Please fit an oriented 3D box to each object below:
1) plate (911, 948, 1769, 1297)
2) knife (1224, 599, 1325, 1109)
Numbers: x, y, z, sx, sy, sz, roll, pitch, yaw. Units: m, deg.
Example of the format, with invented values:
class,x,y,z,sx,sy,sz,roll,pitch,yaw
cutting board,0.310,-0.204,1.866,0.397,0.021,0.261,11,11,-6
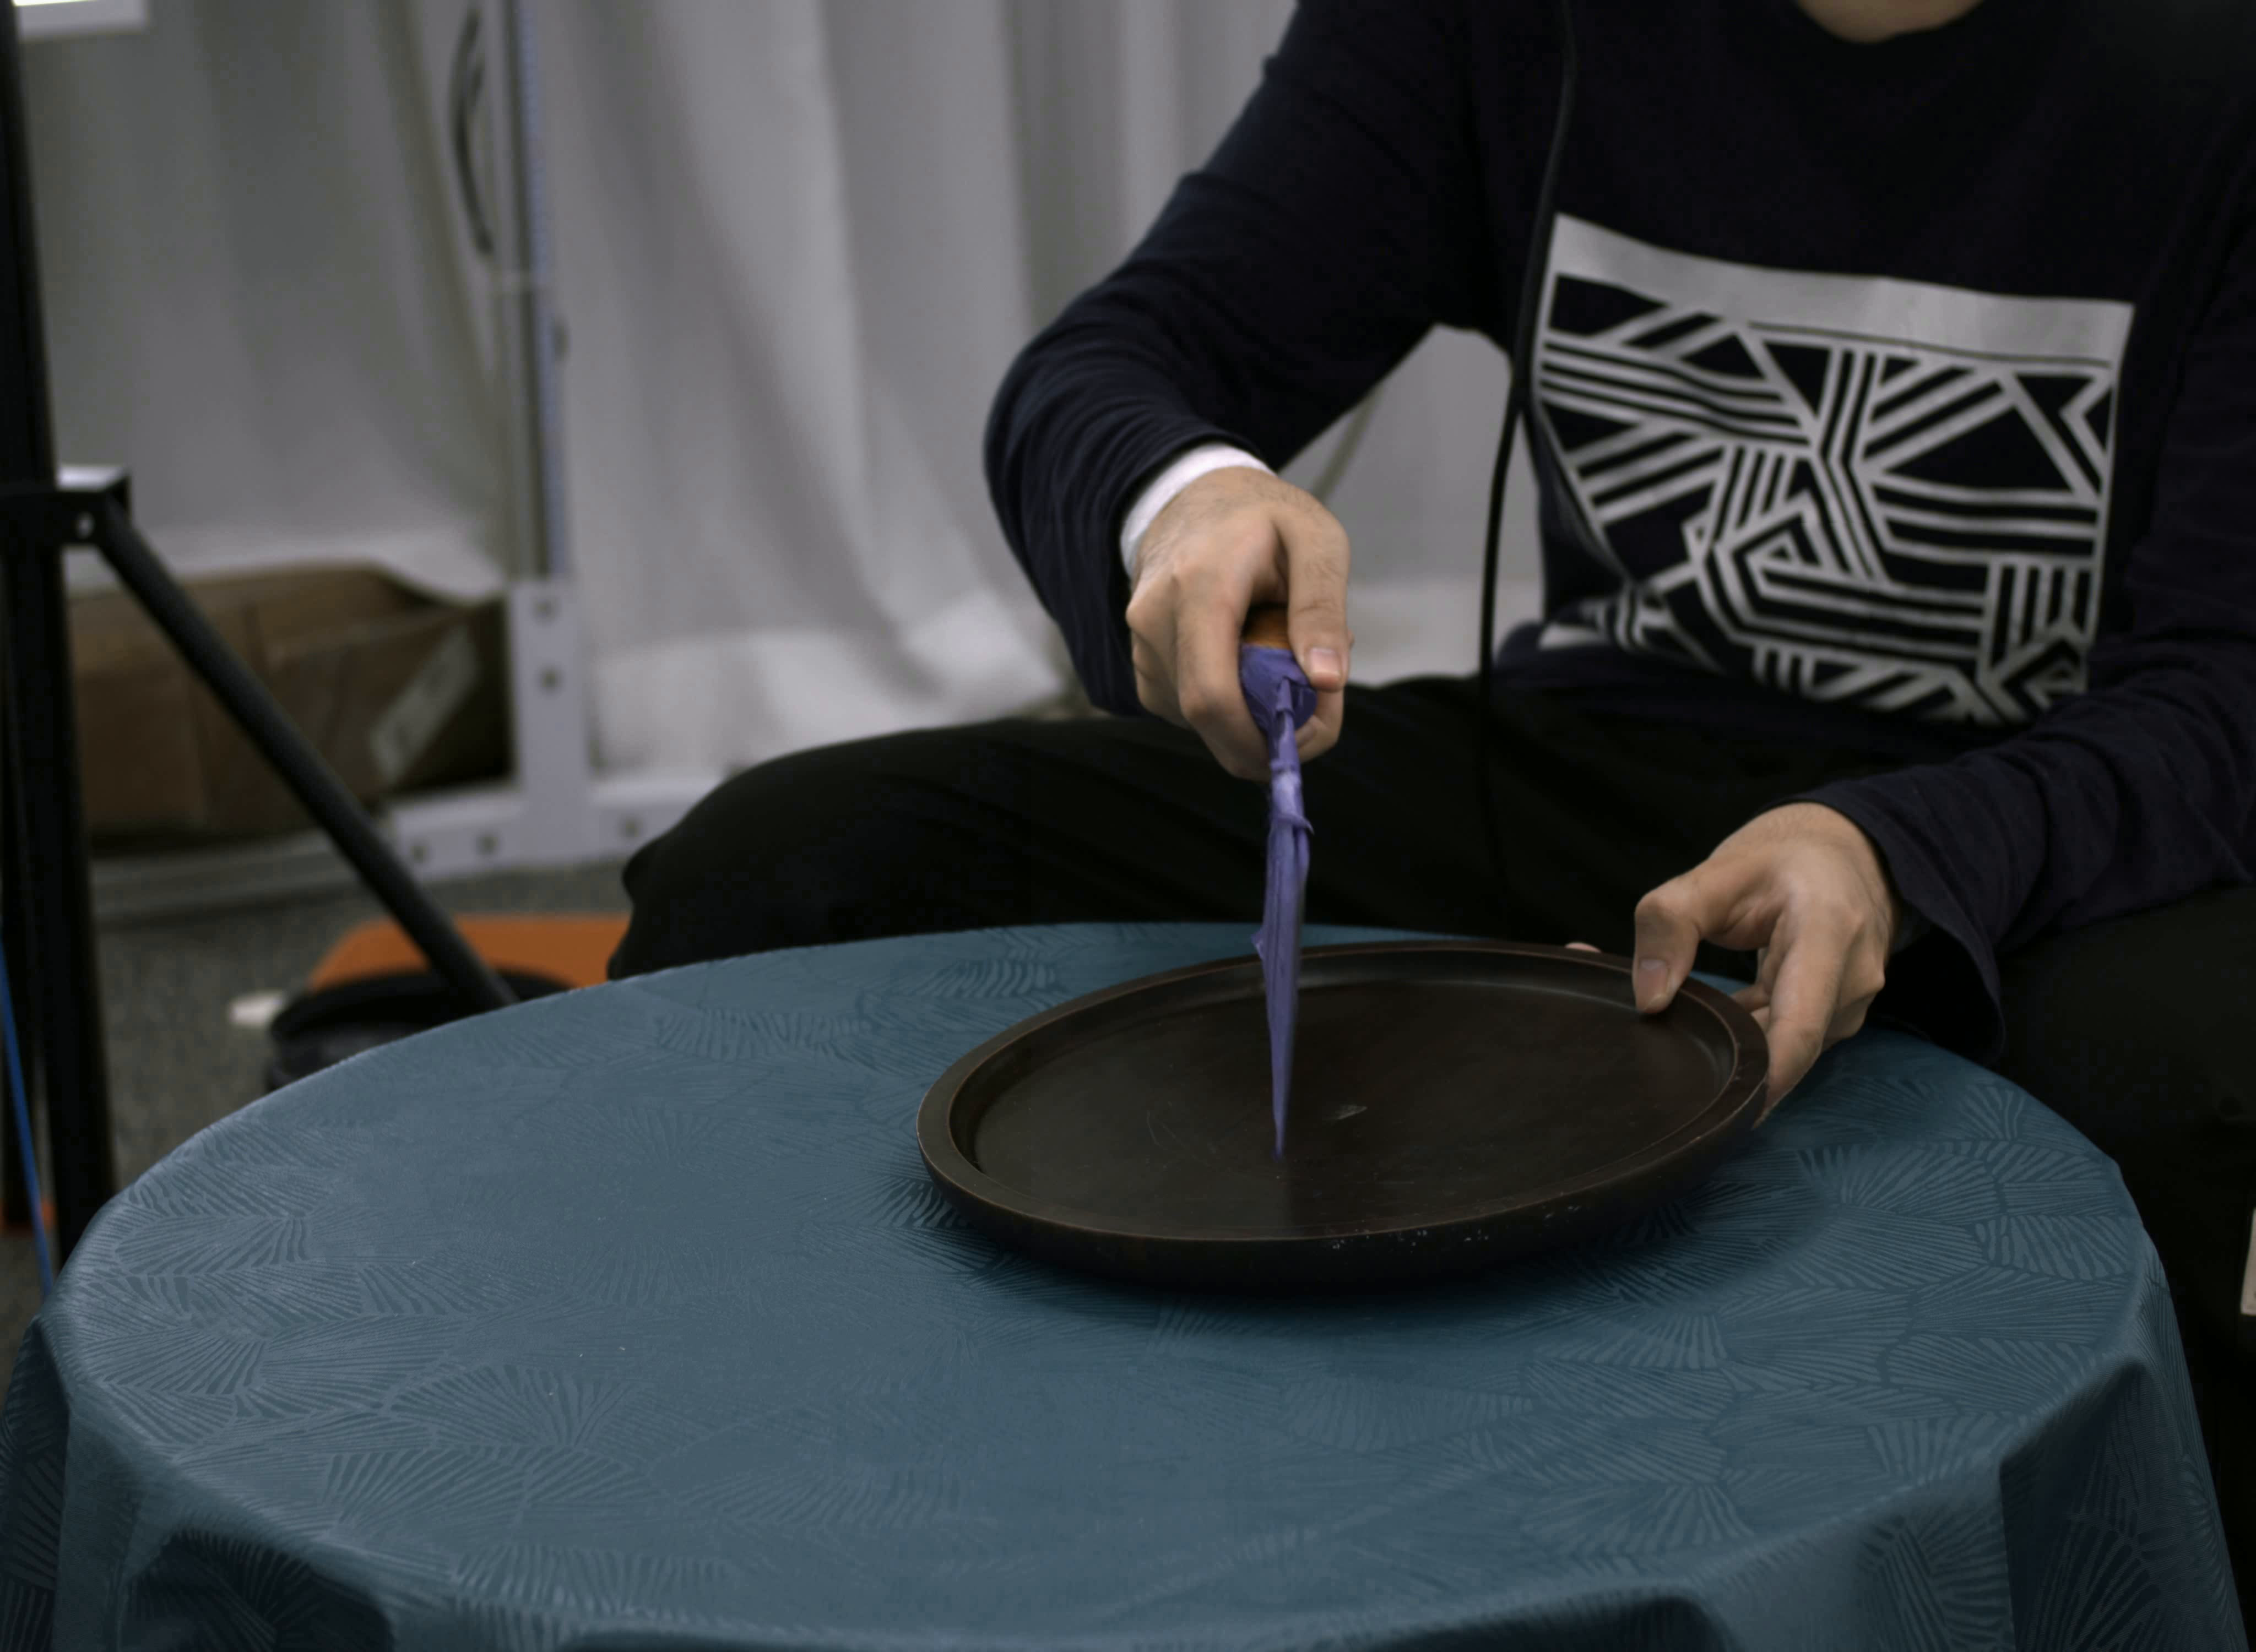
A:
class,x,y,z,sx,sy,sz,roll,pitch,yaw
plate,0.062,0.084,1.565,0.254,0.029,0.256,-6,18,1
knife,0.040,0.005,1.605,0.032,0.104,0.315,5,14,1
